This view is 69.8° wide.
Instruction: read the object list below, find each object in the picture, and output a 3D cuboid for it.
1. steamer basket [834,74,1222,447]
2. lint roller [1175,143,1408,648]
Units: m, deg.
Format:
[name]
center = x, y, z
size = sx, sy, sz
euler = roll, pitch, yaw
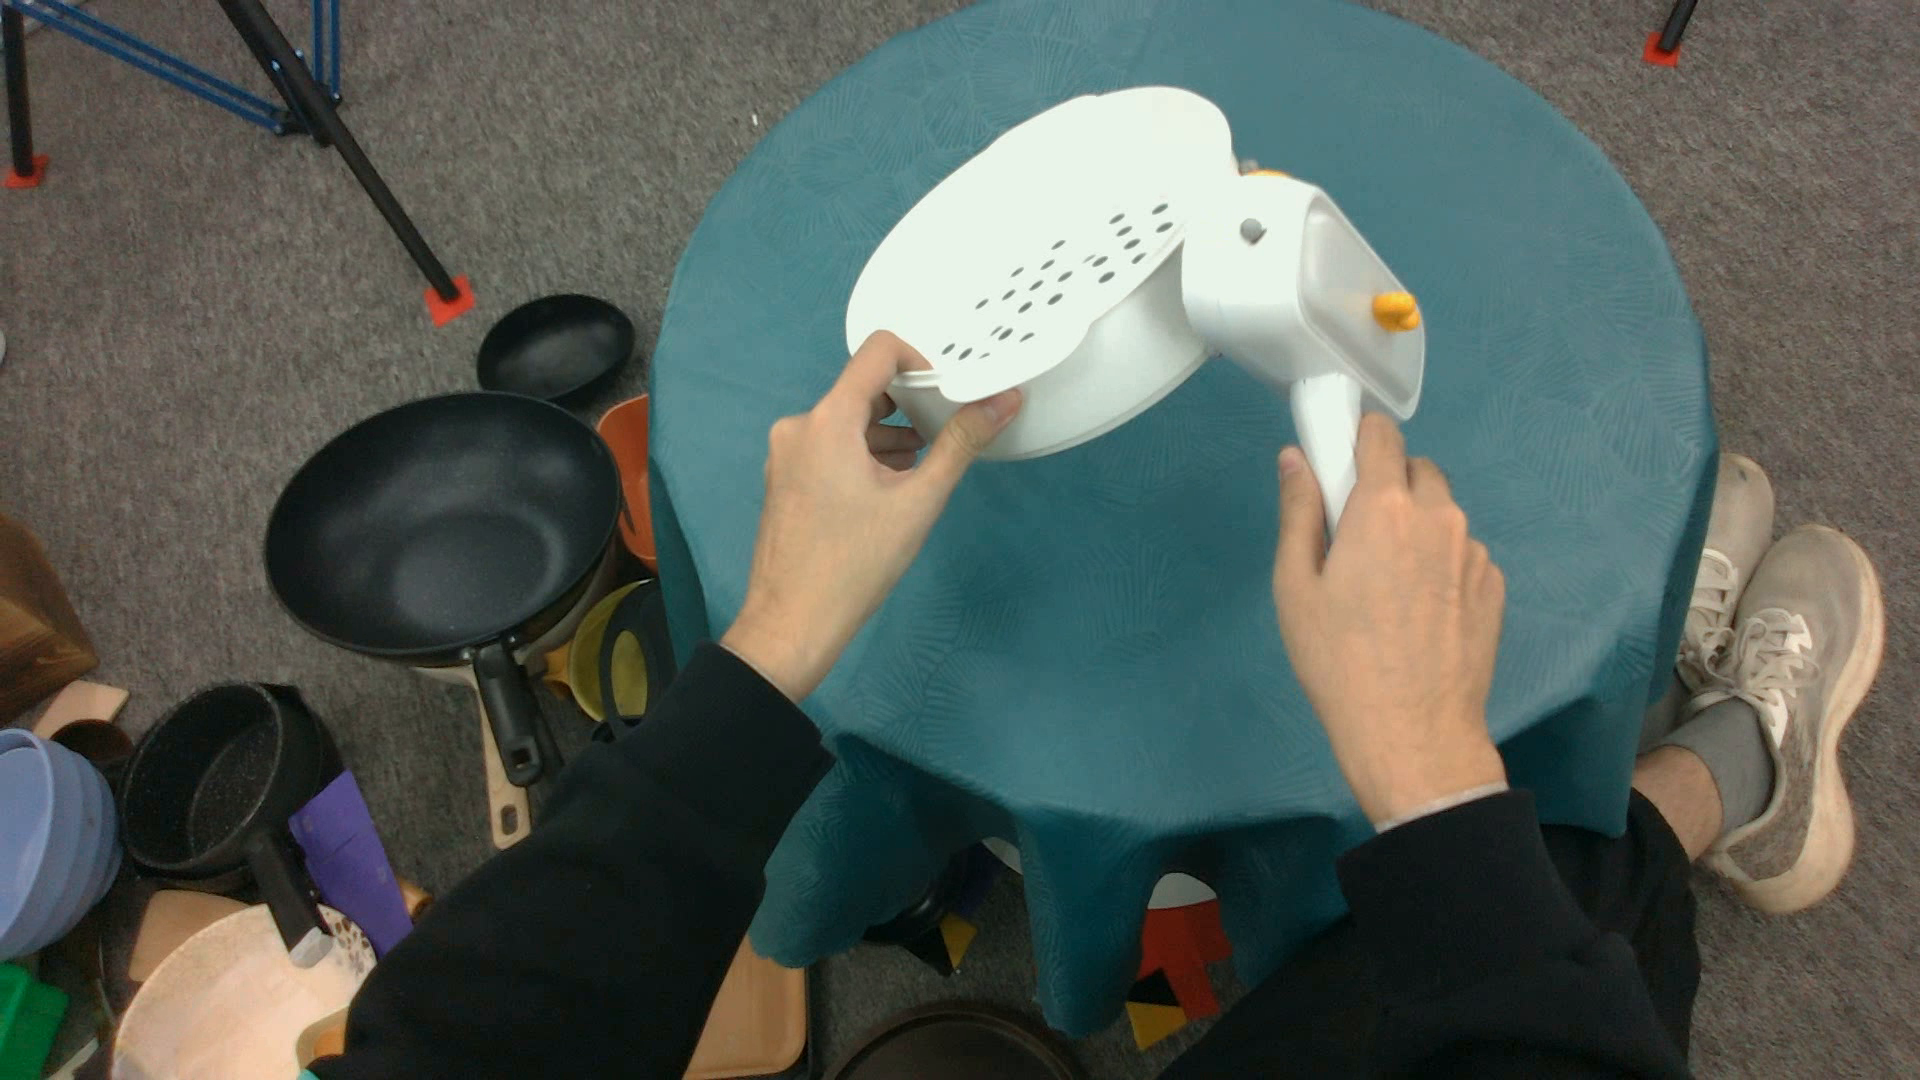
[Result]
[steamer basket]
center = 0.039, -0.133, 0.662
size = 0.201, 0.069, 0.231
euler = -18, 42, 24
[lint roller]
center = 0.152, -0.050, 0.579
size = 0.074, 0.193, 0.192
euler = -5, 81, 26
